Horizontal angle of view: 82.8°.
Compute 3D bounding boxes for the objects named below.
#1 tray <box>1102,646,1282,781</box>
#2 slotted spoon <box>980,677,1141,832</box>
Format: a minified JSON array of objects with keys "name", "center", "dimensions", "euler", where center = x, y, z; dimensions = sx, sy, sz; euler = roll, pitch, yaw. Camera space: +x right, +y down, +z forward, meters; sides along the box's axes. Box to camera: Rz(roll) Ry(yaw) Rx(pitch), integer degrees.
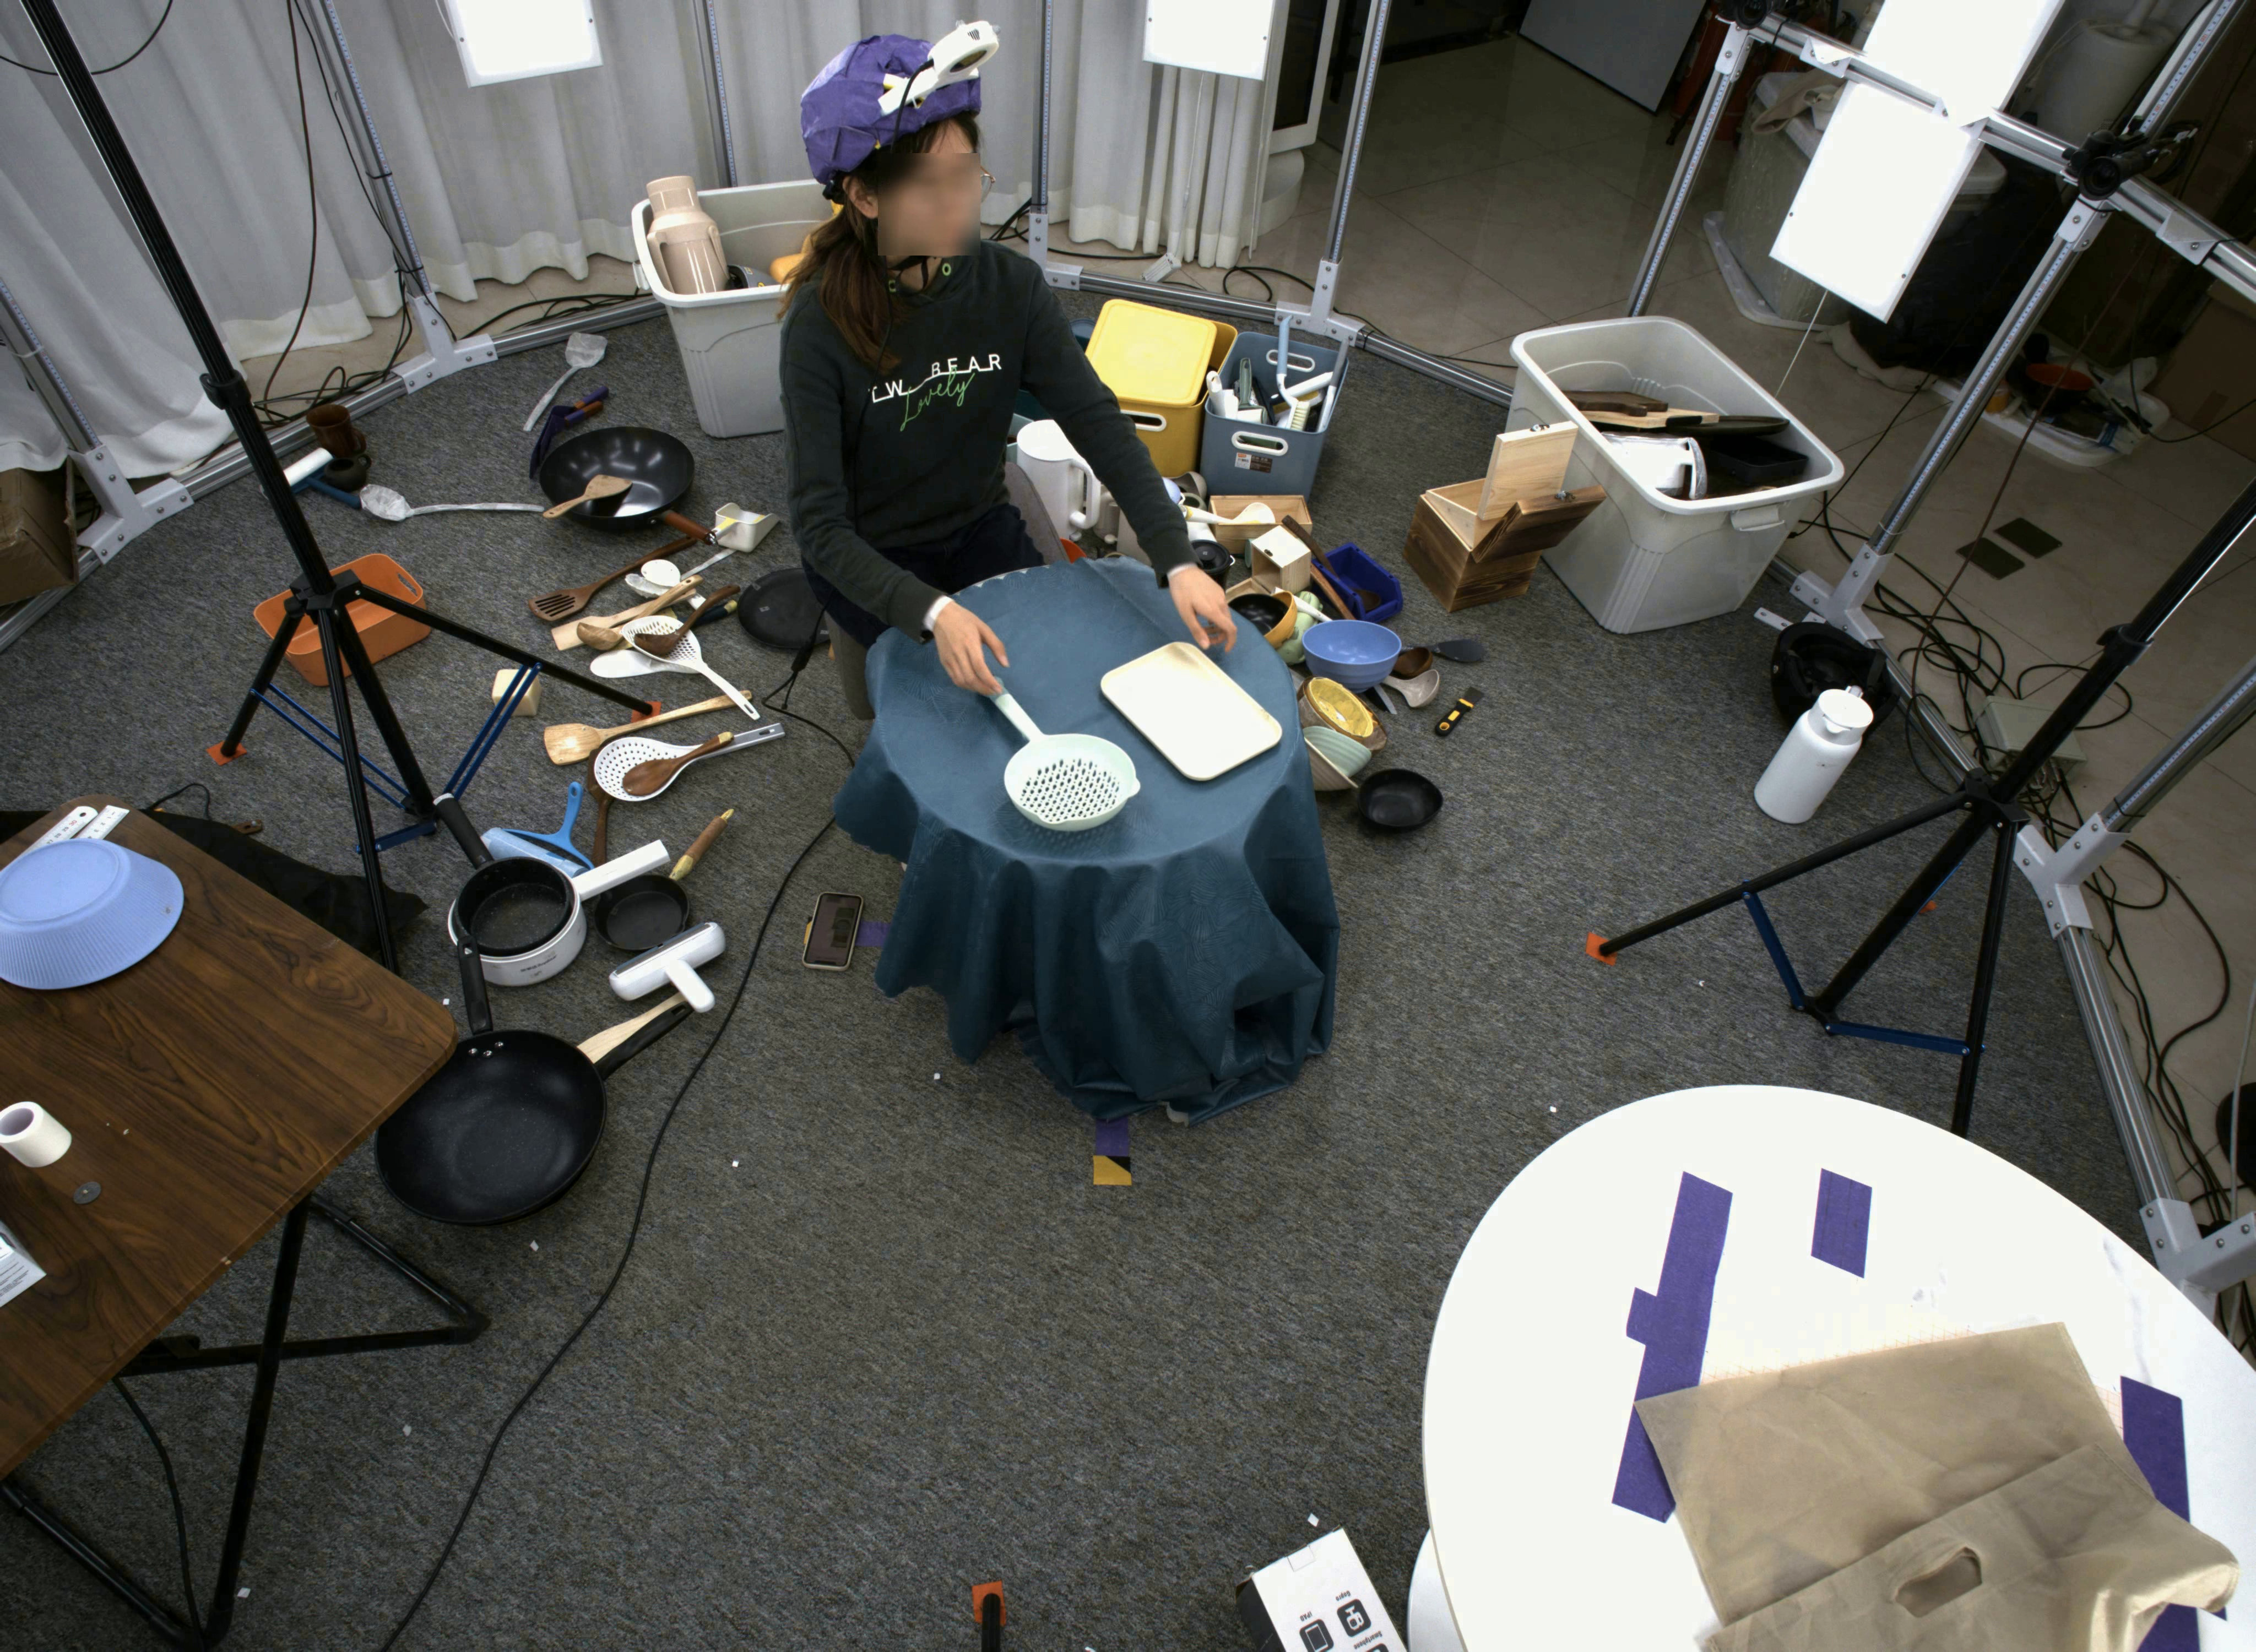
[{"name":"tray","center":[0.089,-0.161,1.820],"dimensions":[0.172,0.017,0.244],"euler":[-27,55,-25]},{"name":"slotted spoon","center":[-0.122,-0.113,1.733],"dimensions":[0.170,0.073,0.366],"euler":[-20,52,-21]}]
